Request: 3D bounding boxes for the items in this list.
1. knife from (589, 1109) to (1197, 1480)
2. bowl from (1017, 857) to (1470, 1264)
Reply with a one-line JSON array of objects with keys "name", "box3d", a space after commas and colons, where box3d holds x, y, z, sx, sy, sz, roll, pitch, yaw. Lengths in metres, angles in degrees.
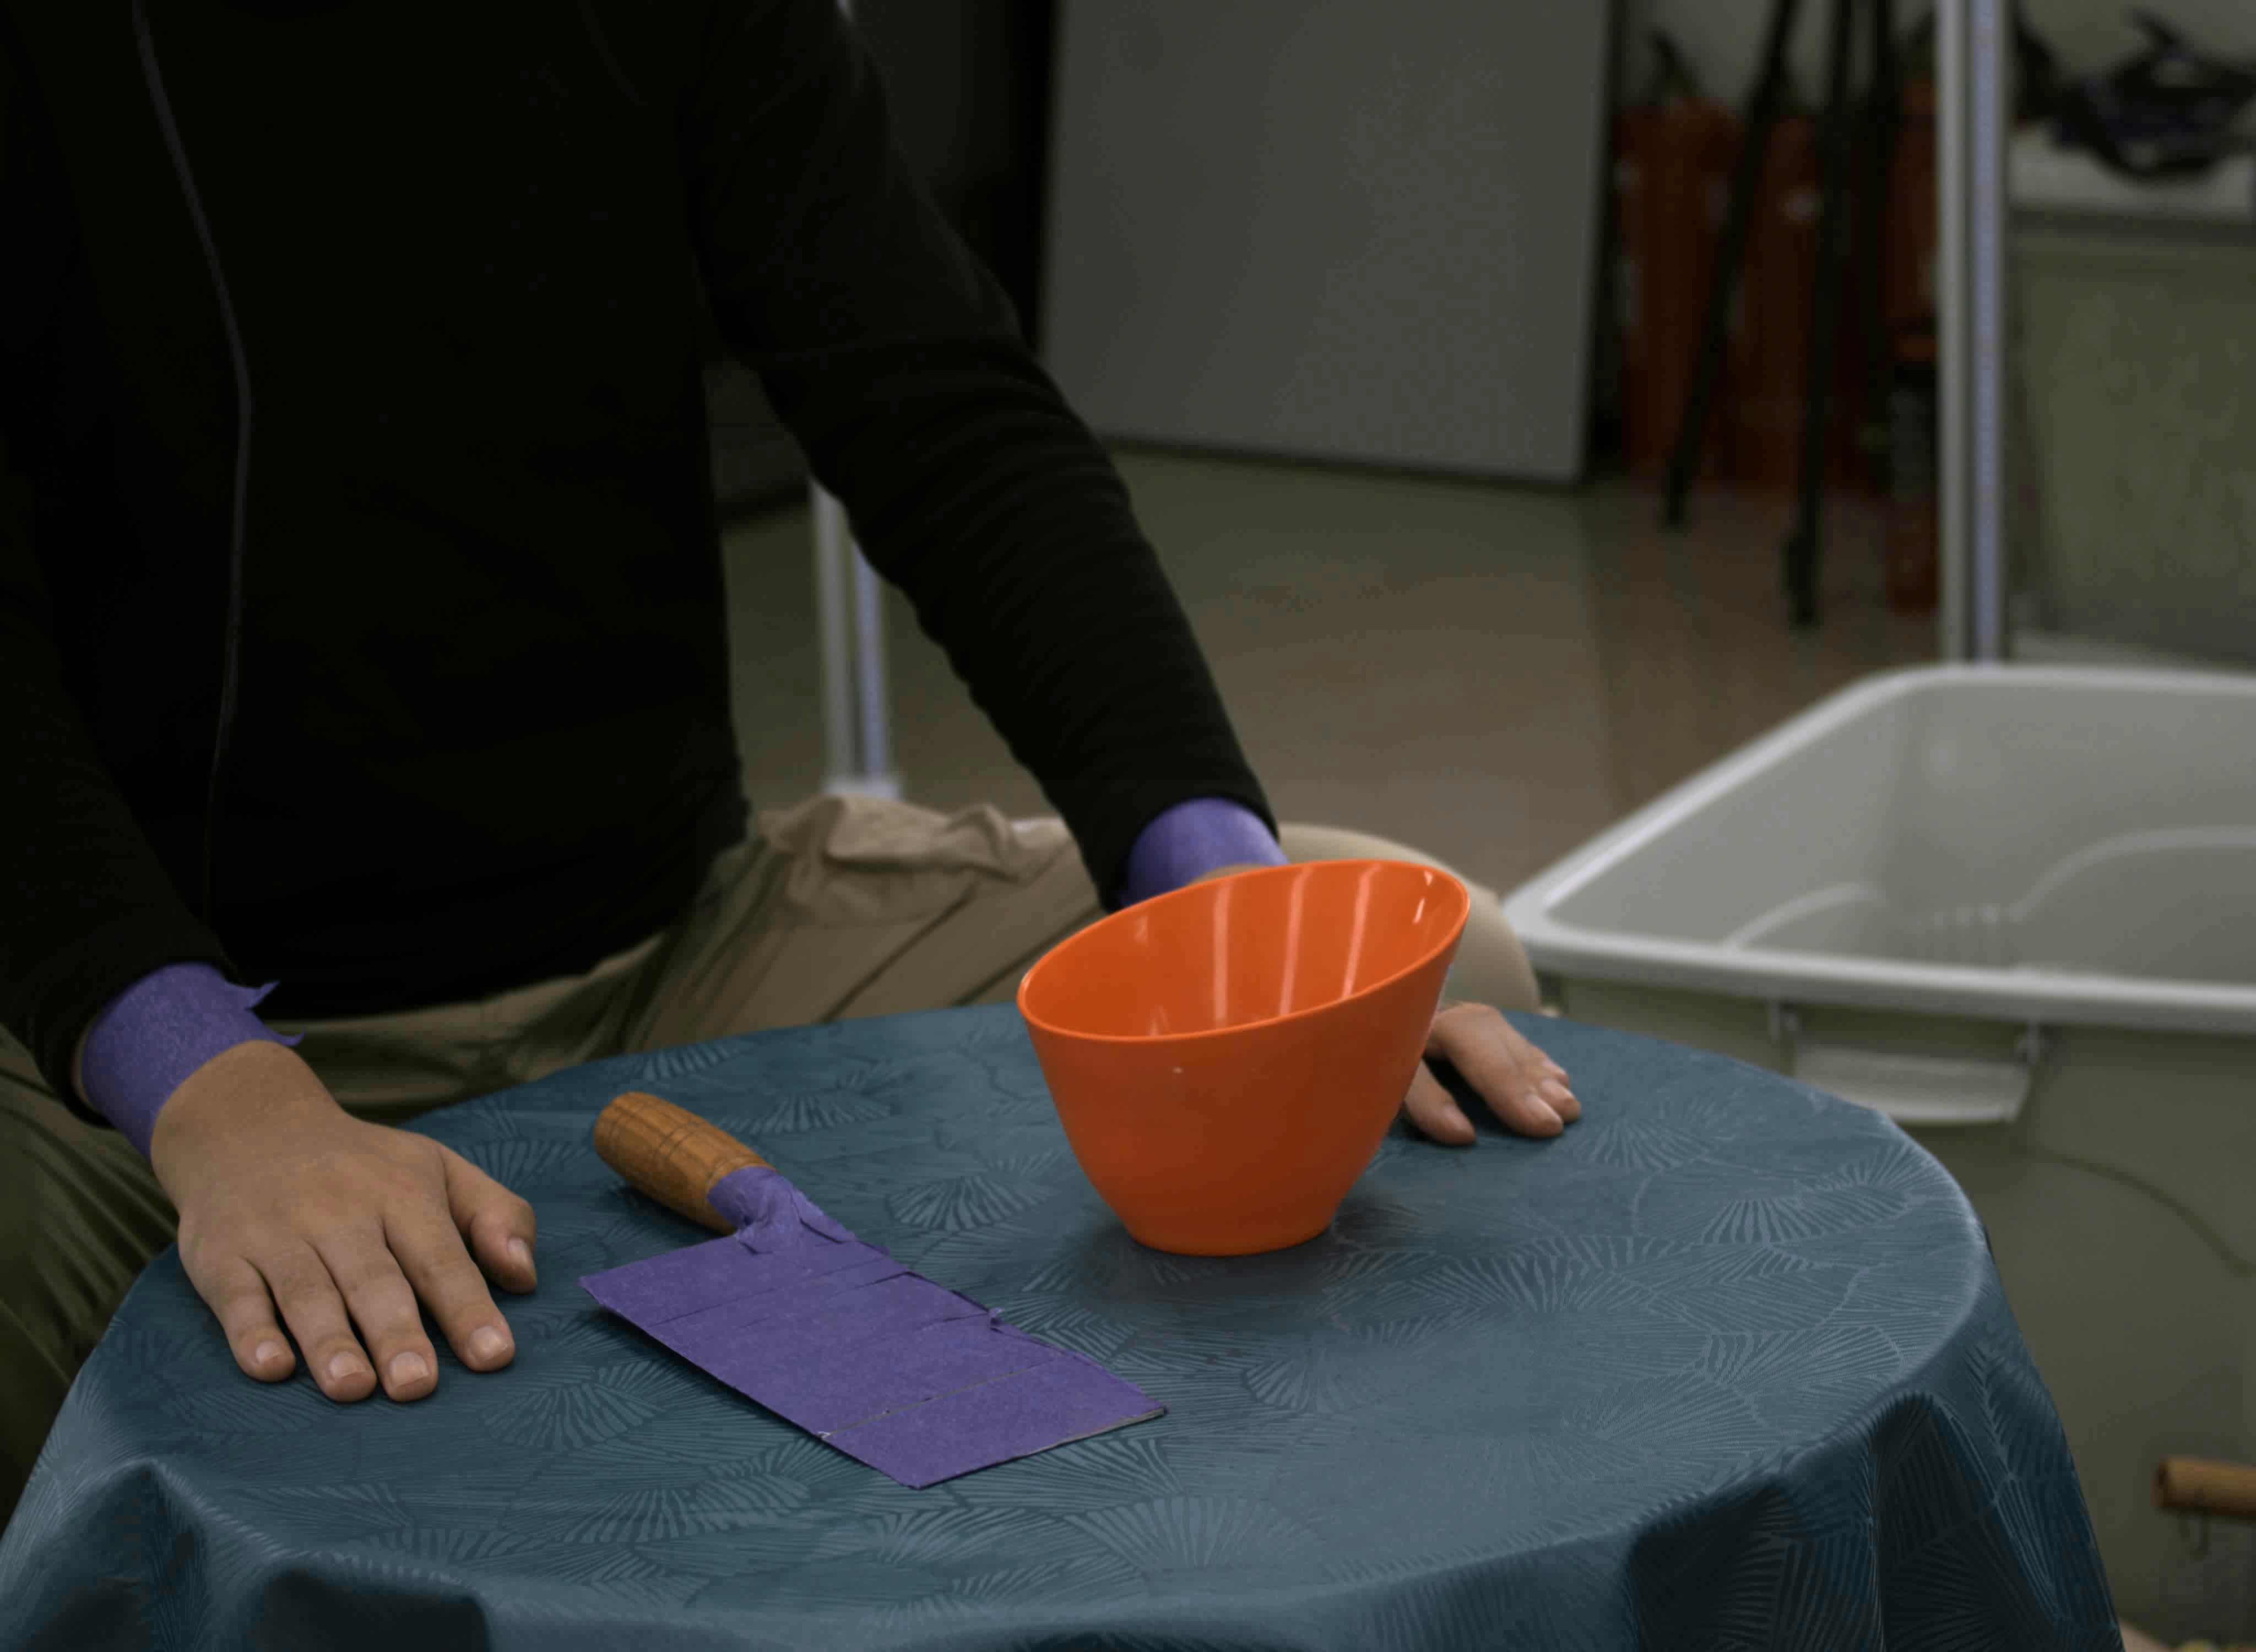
[{"name": "knife", "box3d": [-0.106, 0.142, 1.670, 0.101, 0.032, 0.318, -12, 17, -31]}, {"name": "bowl", "box3d": [0.040, 0.078, 1.725, 0.146, 0.106, 0.148, -4, 15, 0]}]
